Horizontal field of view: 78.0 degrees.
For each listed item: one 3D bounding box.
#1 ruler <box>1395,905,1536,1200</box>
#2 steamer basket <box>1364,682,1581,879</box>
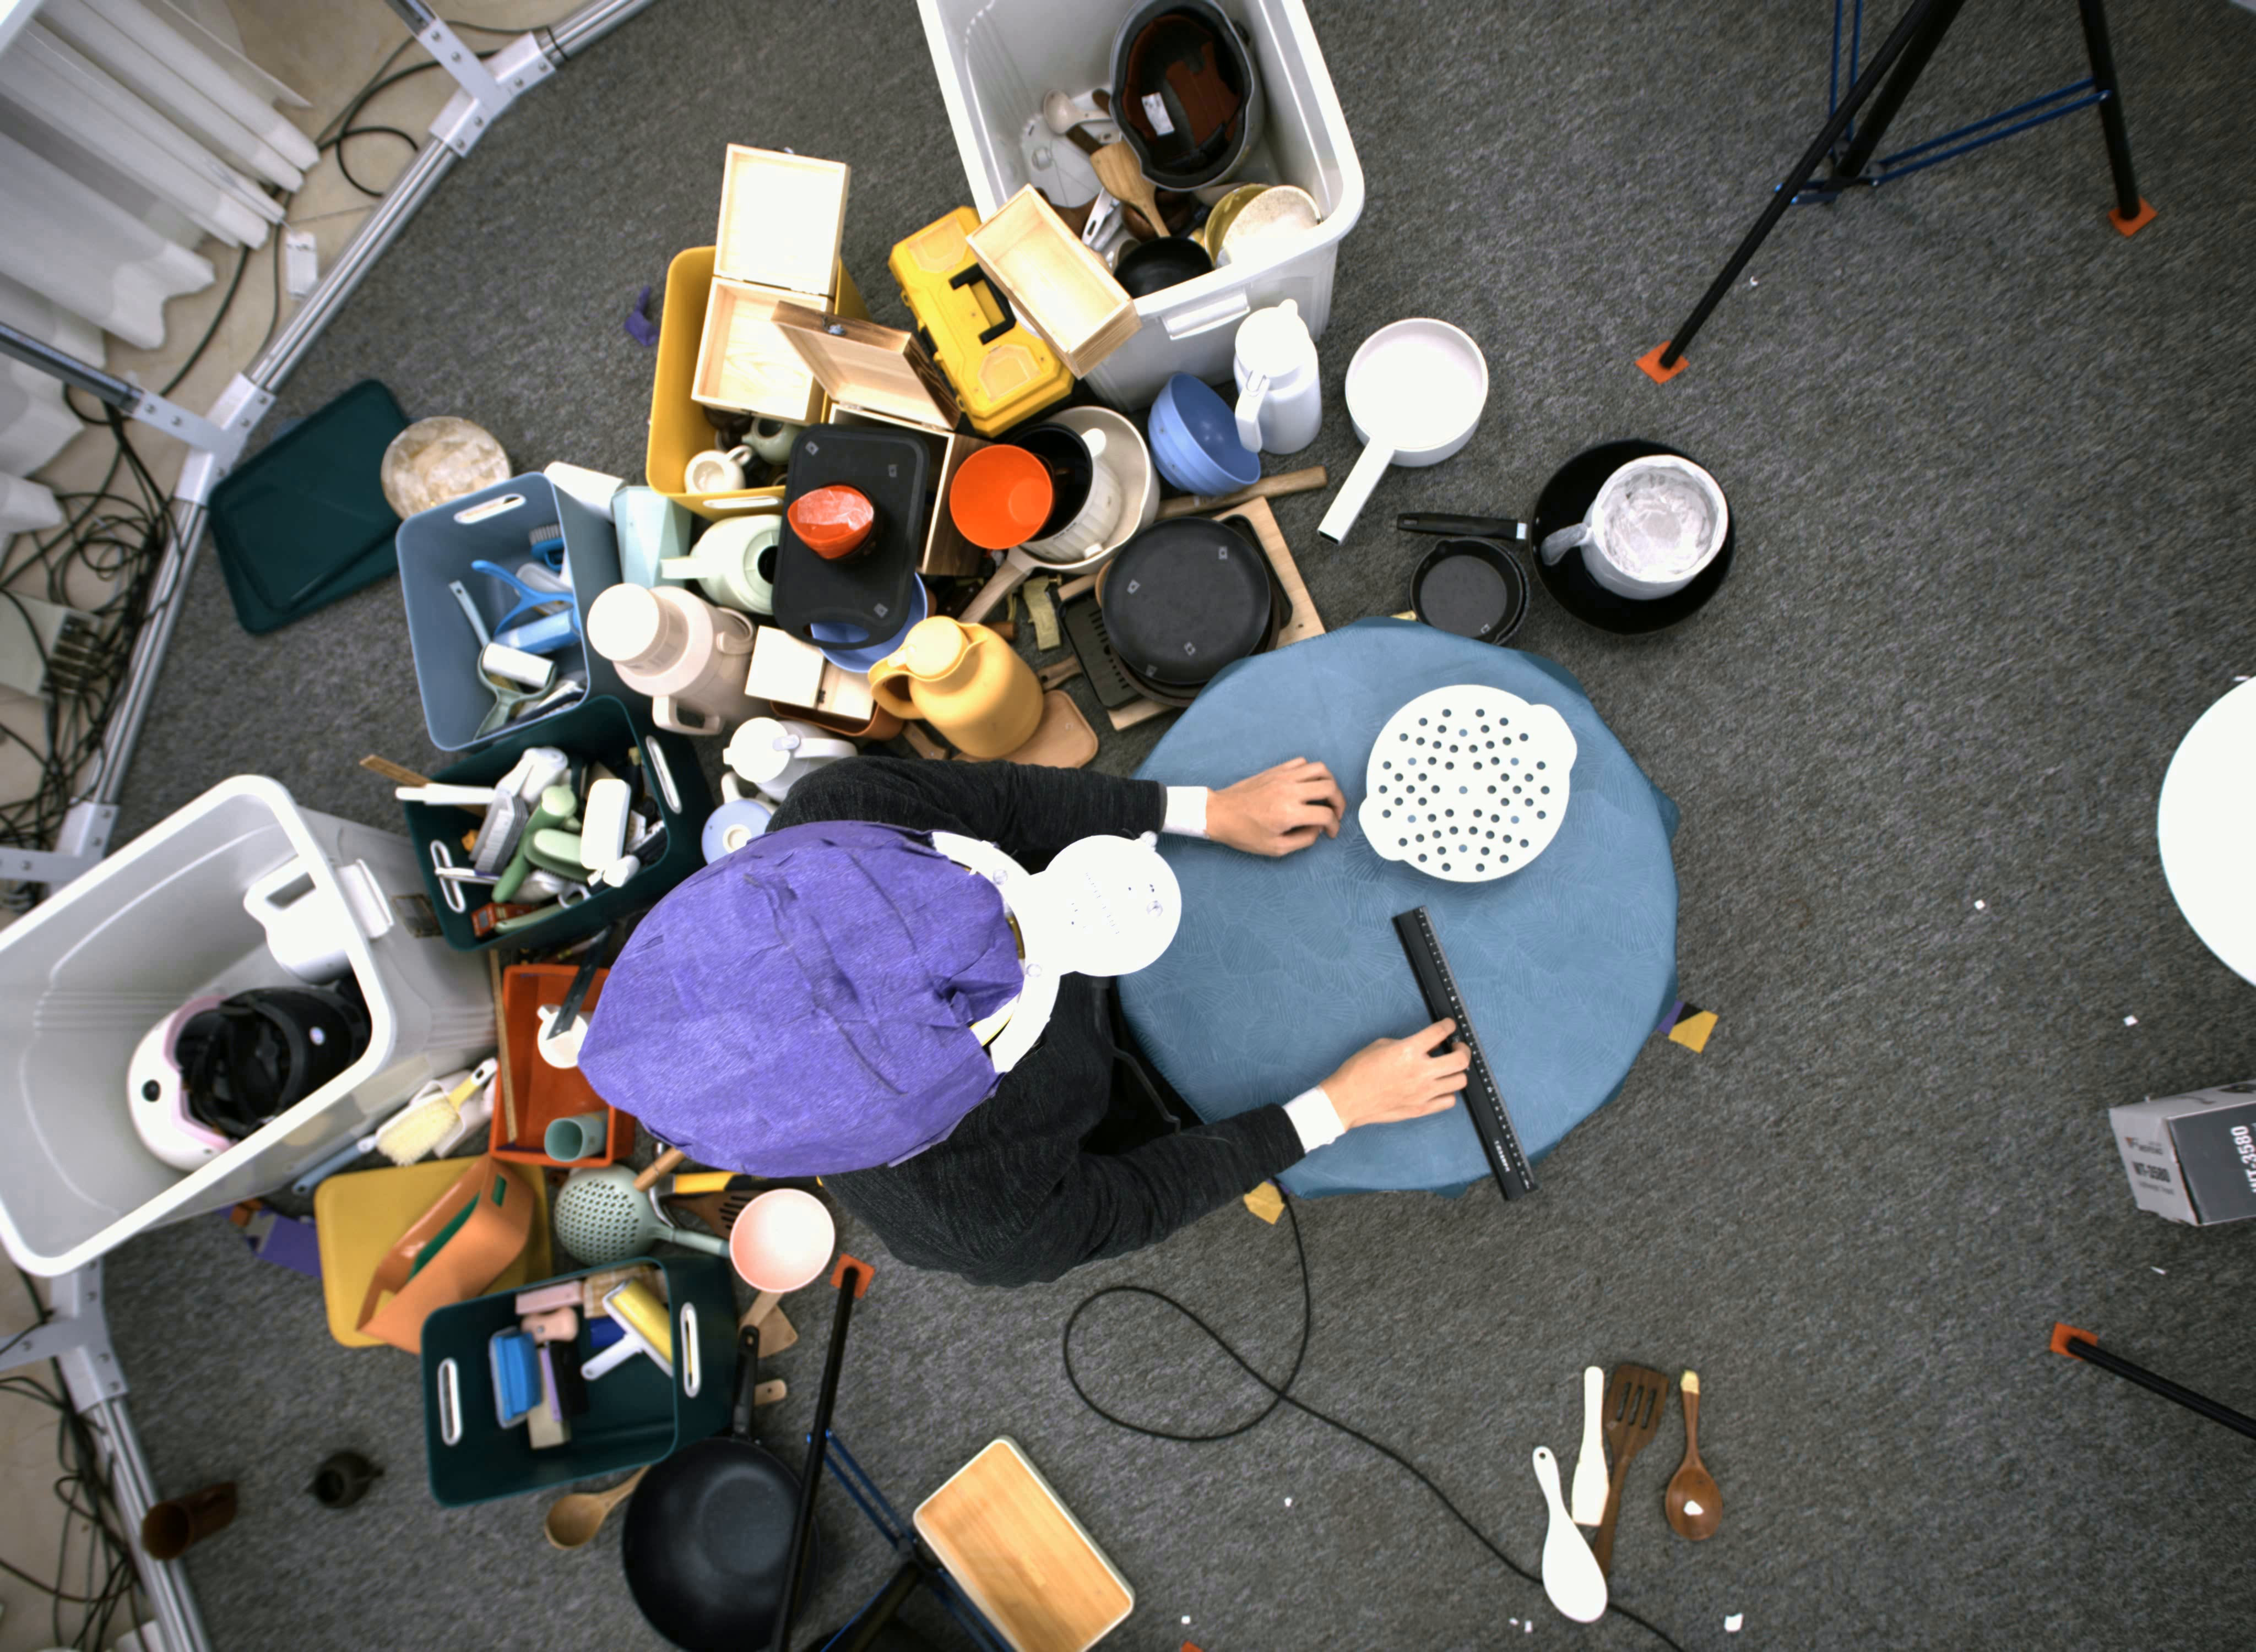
[{"bbox_3d":[0.350,0.231,1.428,0.039,0.017,0.310,-21,83,6],"label":"ruler"},{"bbox_3d":[0.352,-0.046,1.417,0.231,0.069,0.200,-30,82,5],"label":"steamer basket"}]
